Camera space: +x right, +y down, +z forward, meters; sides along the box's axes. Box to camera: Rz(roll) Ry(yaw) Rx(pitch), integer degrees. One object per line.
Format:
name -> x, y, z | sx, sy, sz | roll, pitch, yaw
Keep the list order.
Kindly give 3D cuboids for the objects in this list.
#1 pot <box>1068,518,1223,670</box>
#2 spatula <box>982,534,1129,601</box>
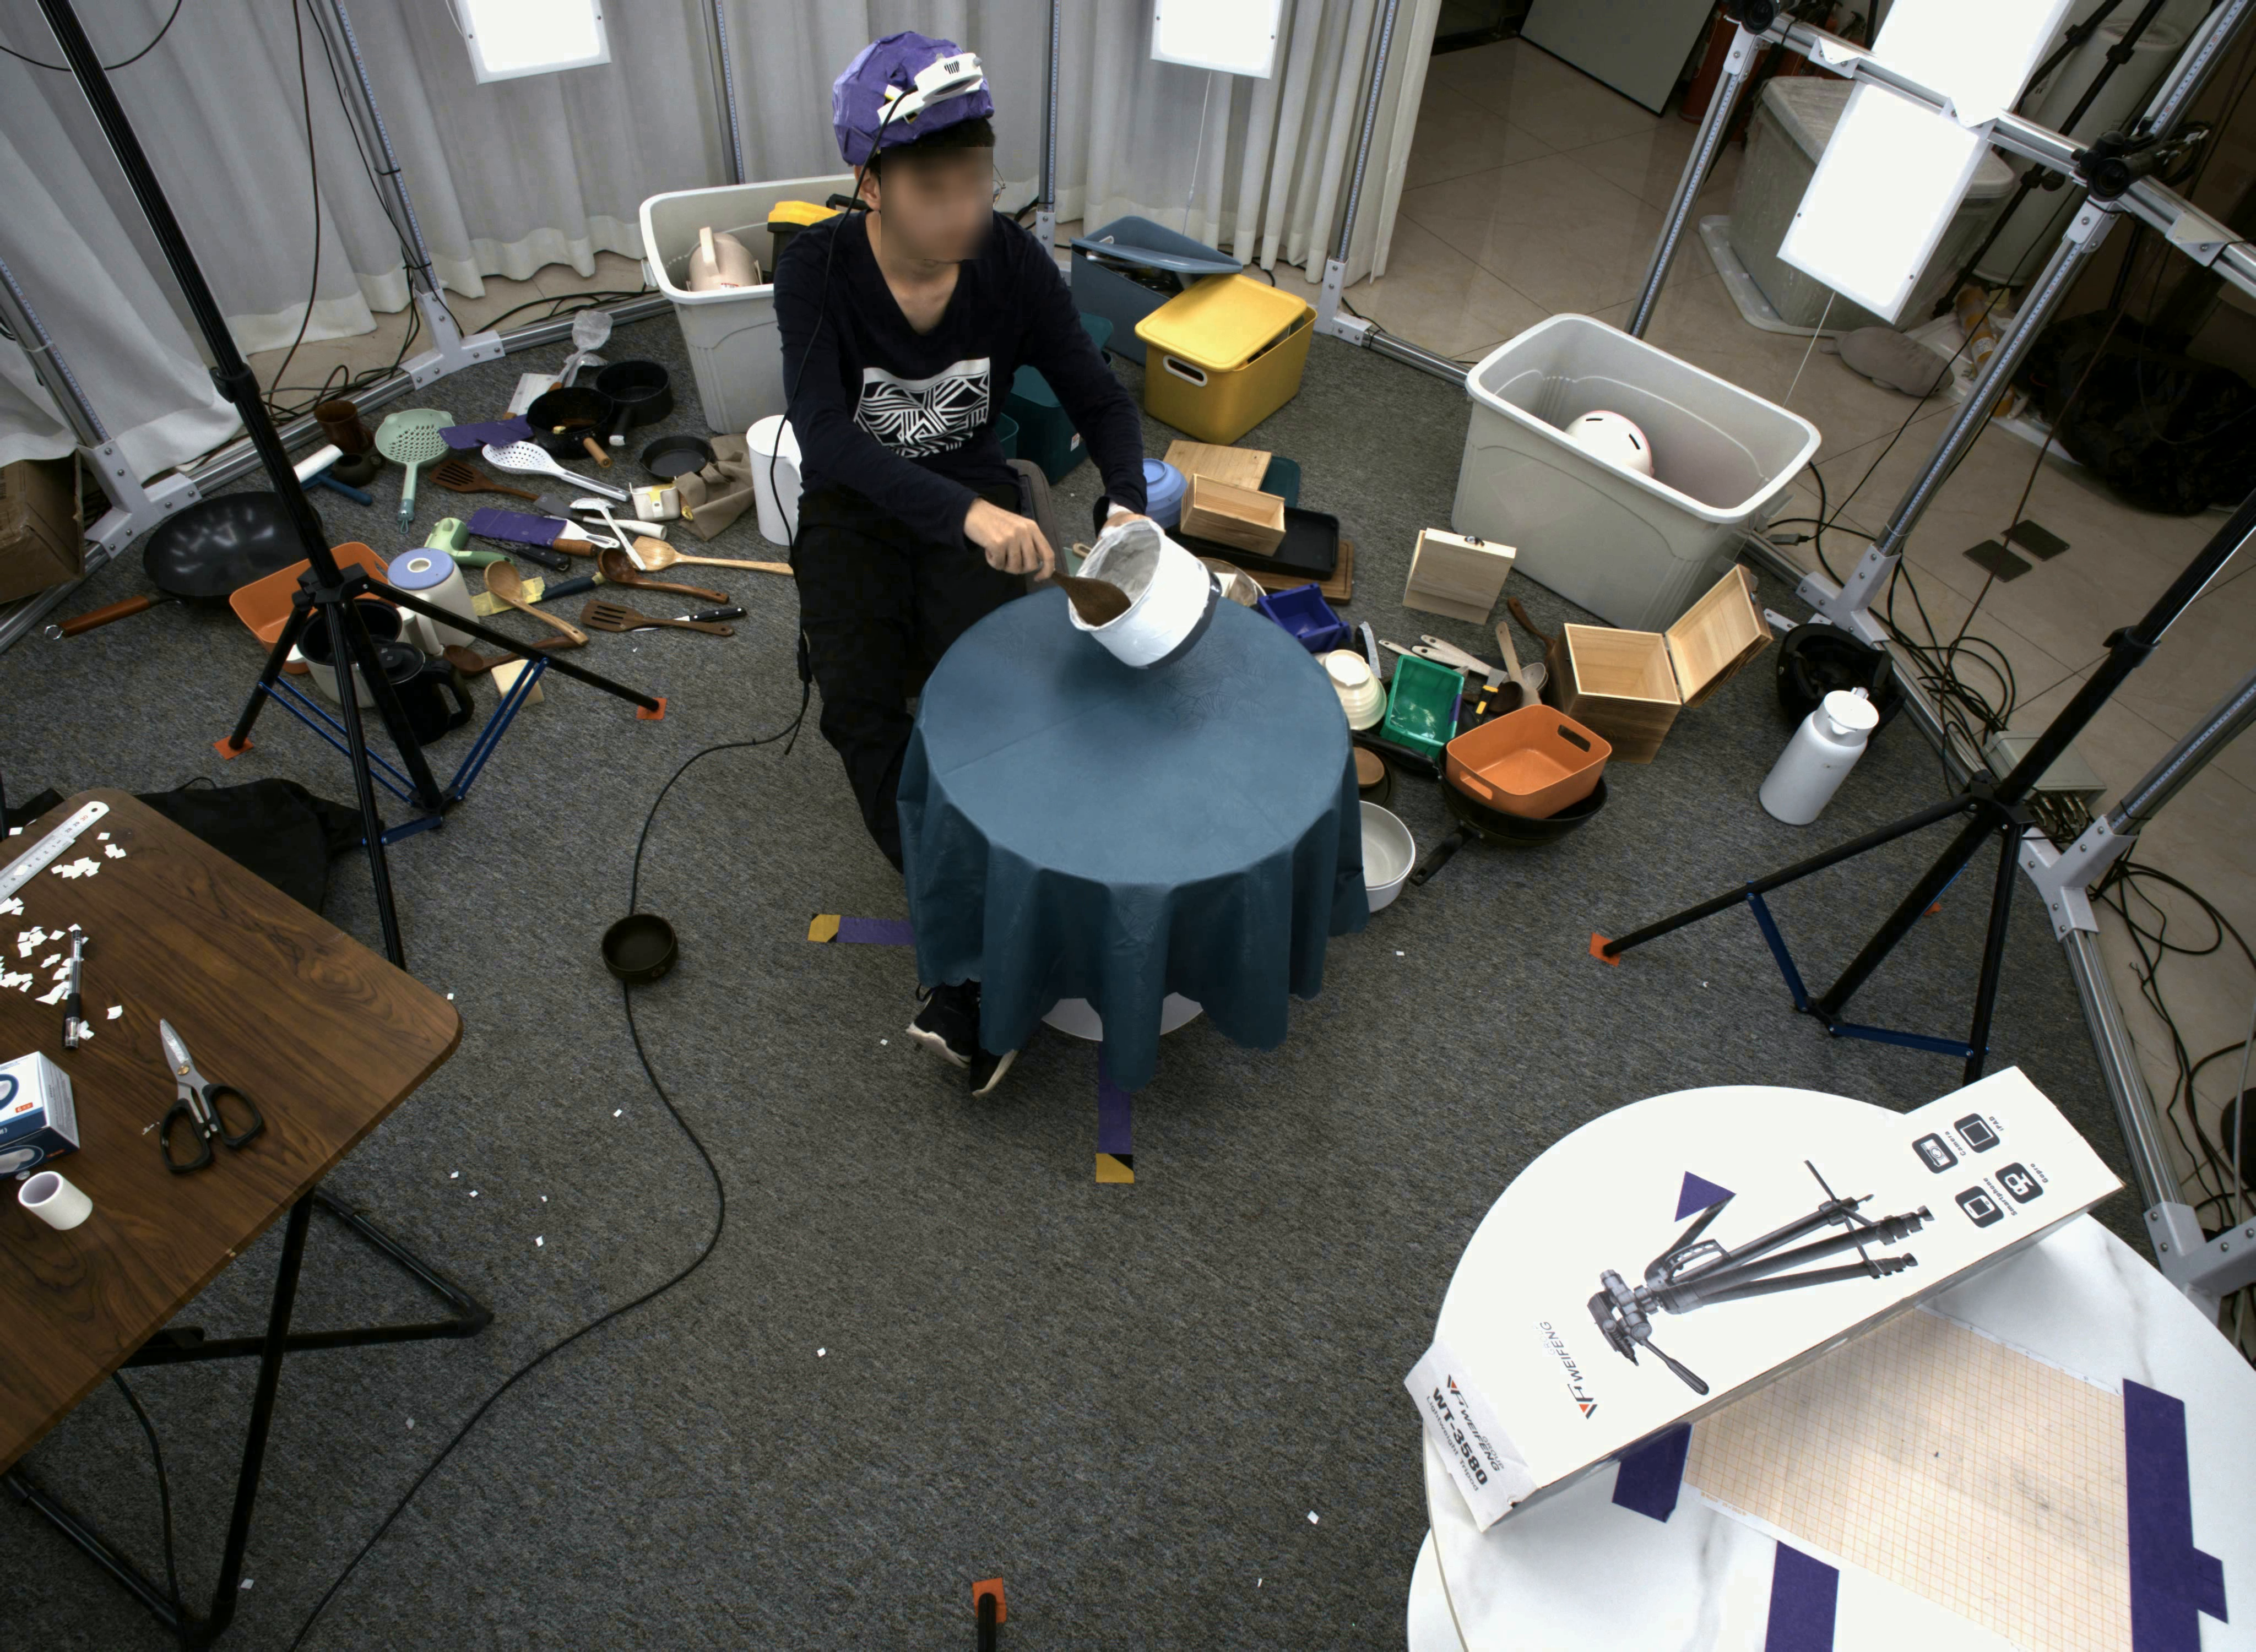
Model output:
pot -> 0.020, -0.337, 1.806 | 0.177, 0.134, 0.240 | -37, 43, 22
spatula -> -0.098, -0.352, 1.753 | 0.215, 0.071, 0.009 | 21, 82, -9
